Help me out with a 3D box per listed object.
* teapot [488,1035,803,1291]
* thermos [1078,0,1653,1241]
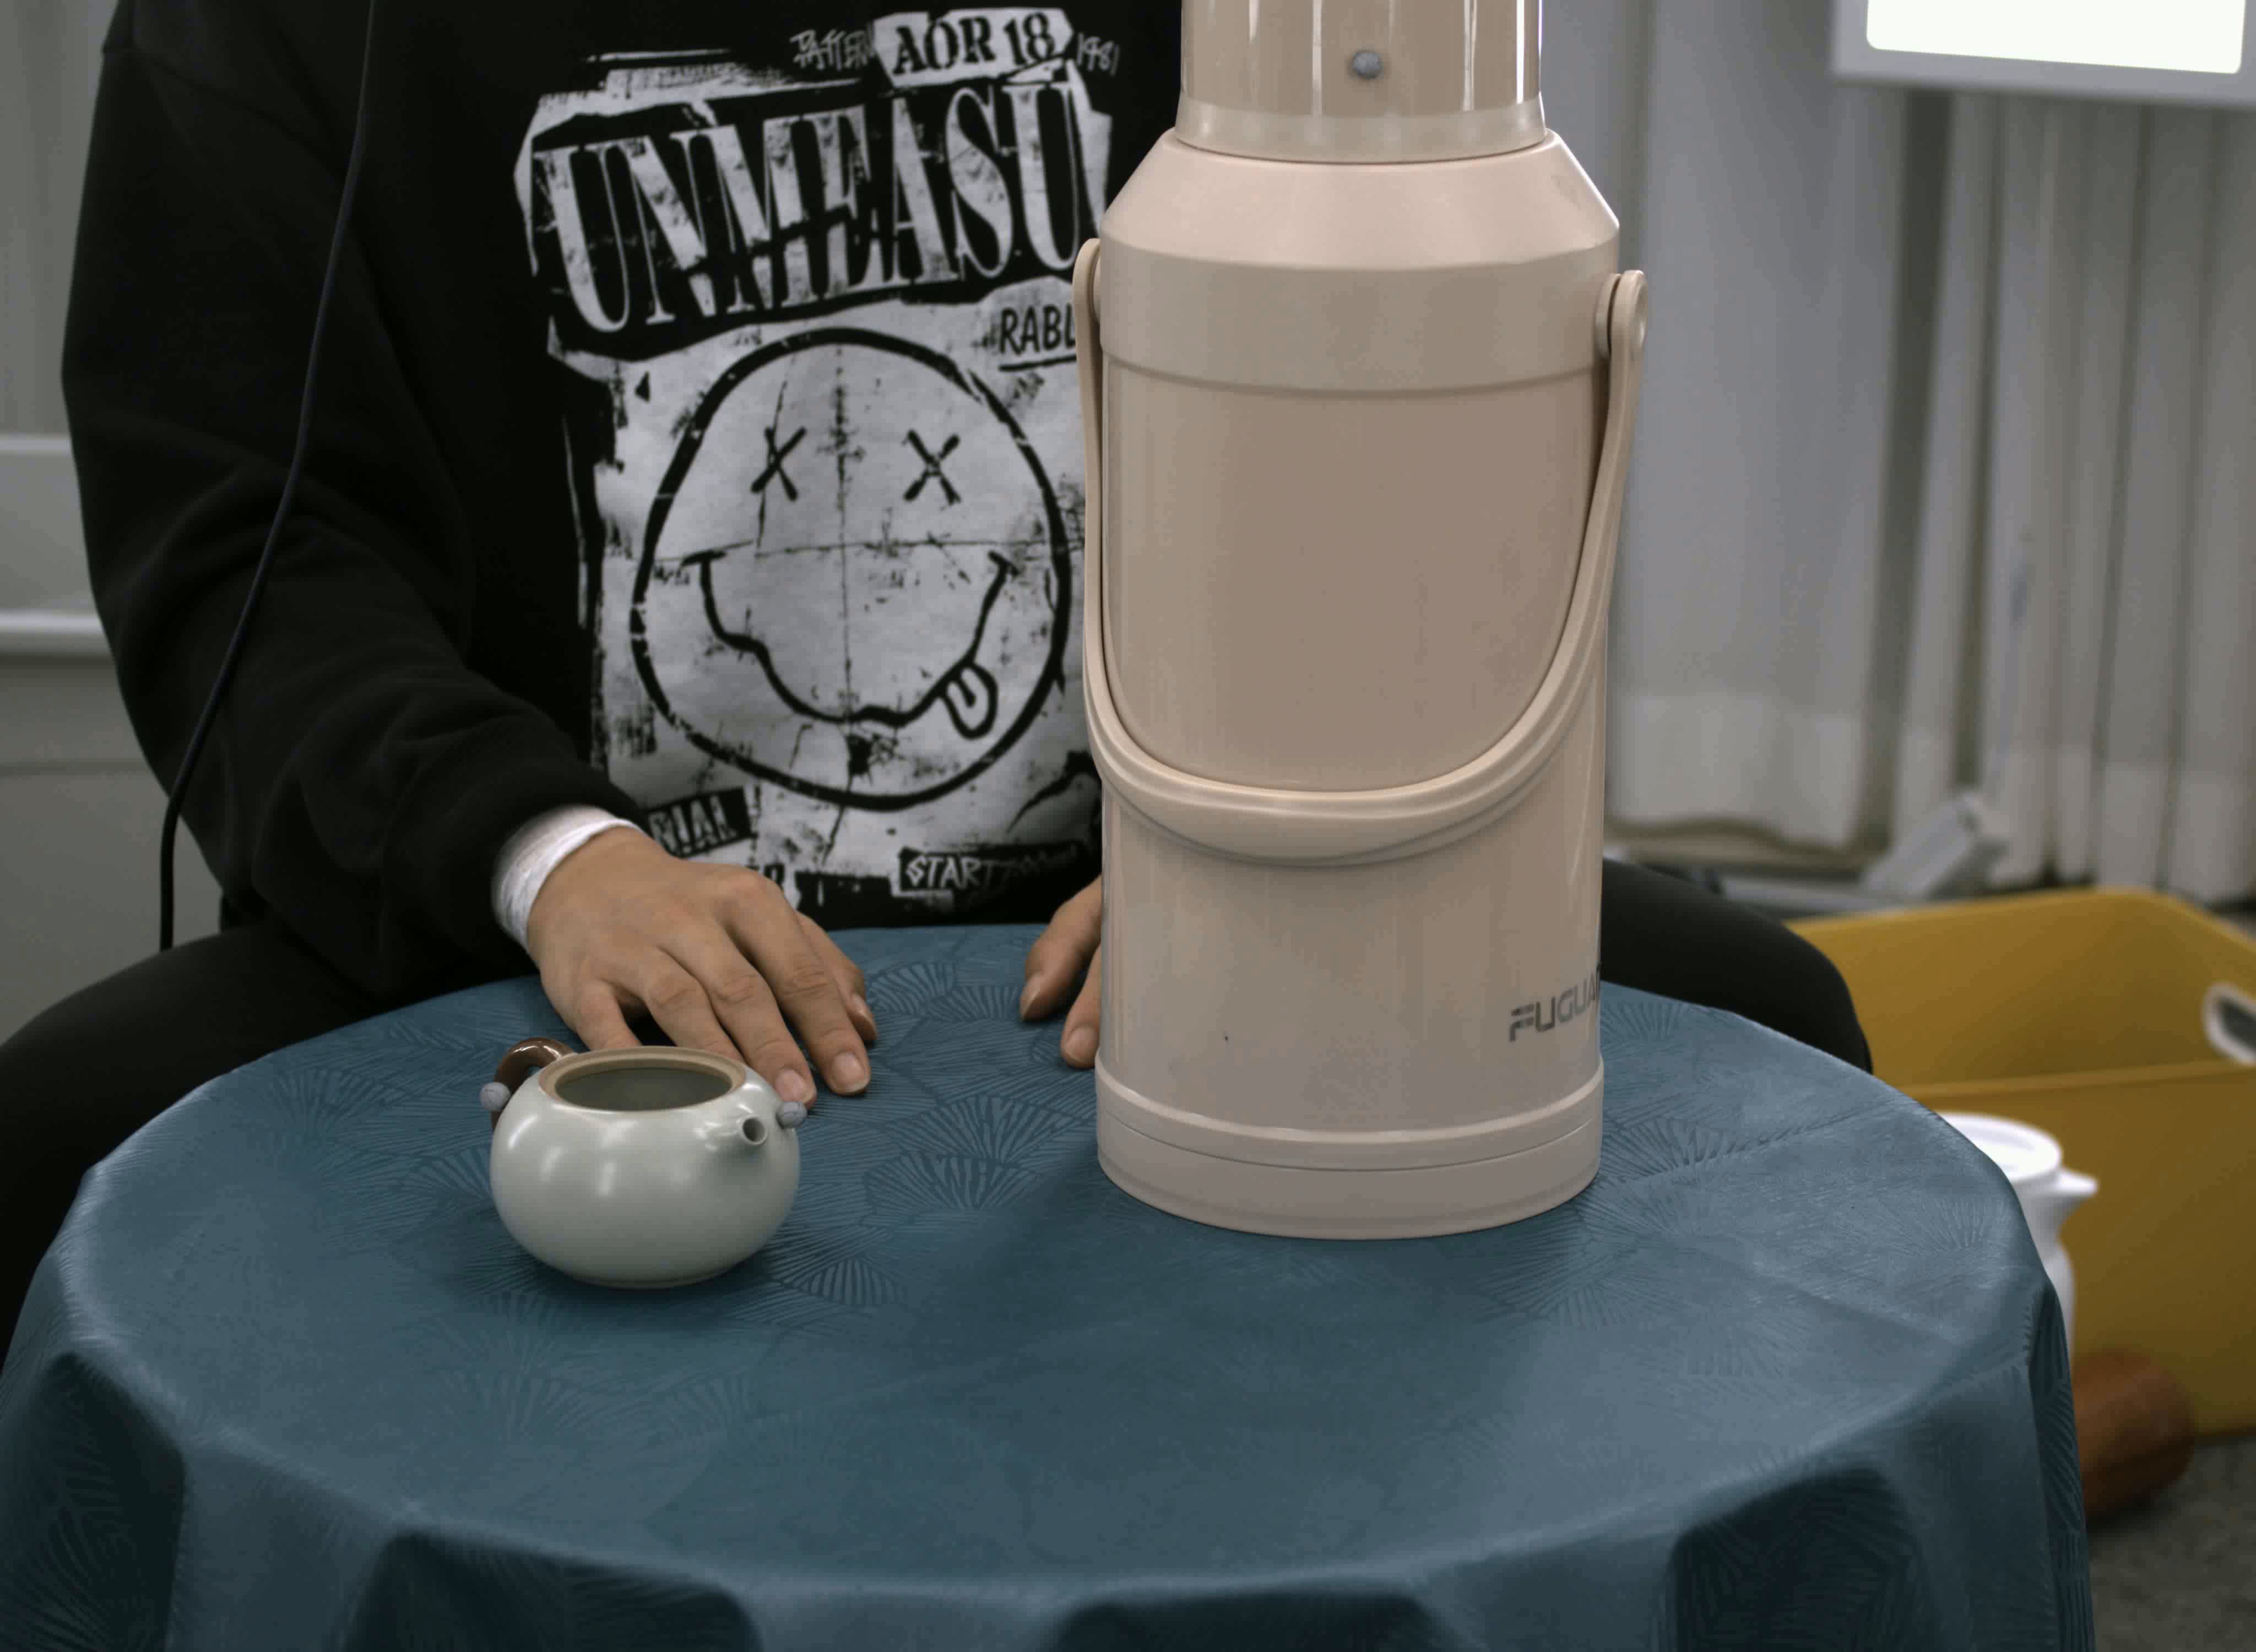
[{"bbox_3d":[-0.148,0.098,1.559,0.126,0.060,0.092,17,25,42],"label":"teapot"},{"bbox_3d":[0.077,-0.091,1.613,0.174,0.410,0.207,4,17,18],"label":"thermos"}]
